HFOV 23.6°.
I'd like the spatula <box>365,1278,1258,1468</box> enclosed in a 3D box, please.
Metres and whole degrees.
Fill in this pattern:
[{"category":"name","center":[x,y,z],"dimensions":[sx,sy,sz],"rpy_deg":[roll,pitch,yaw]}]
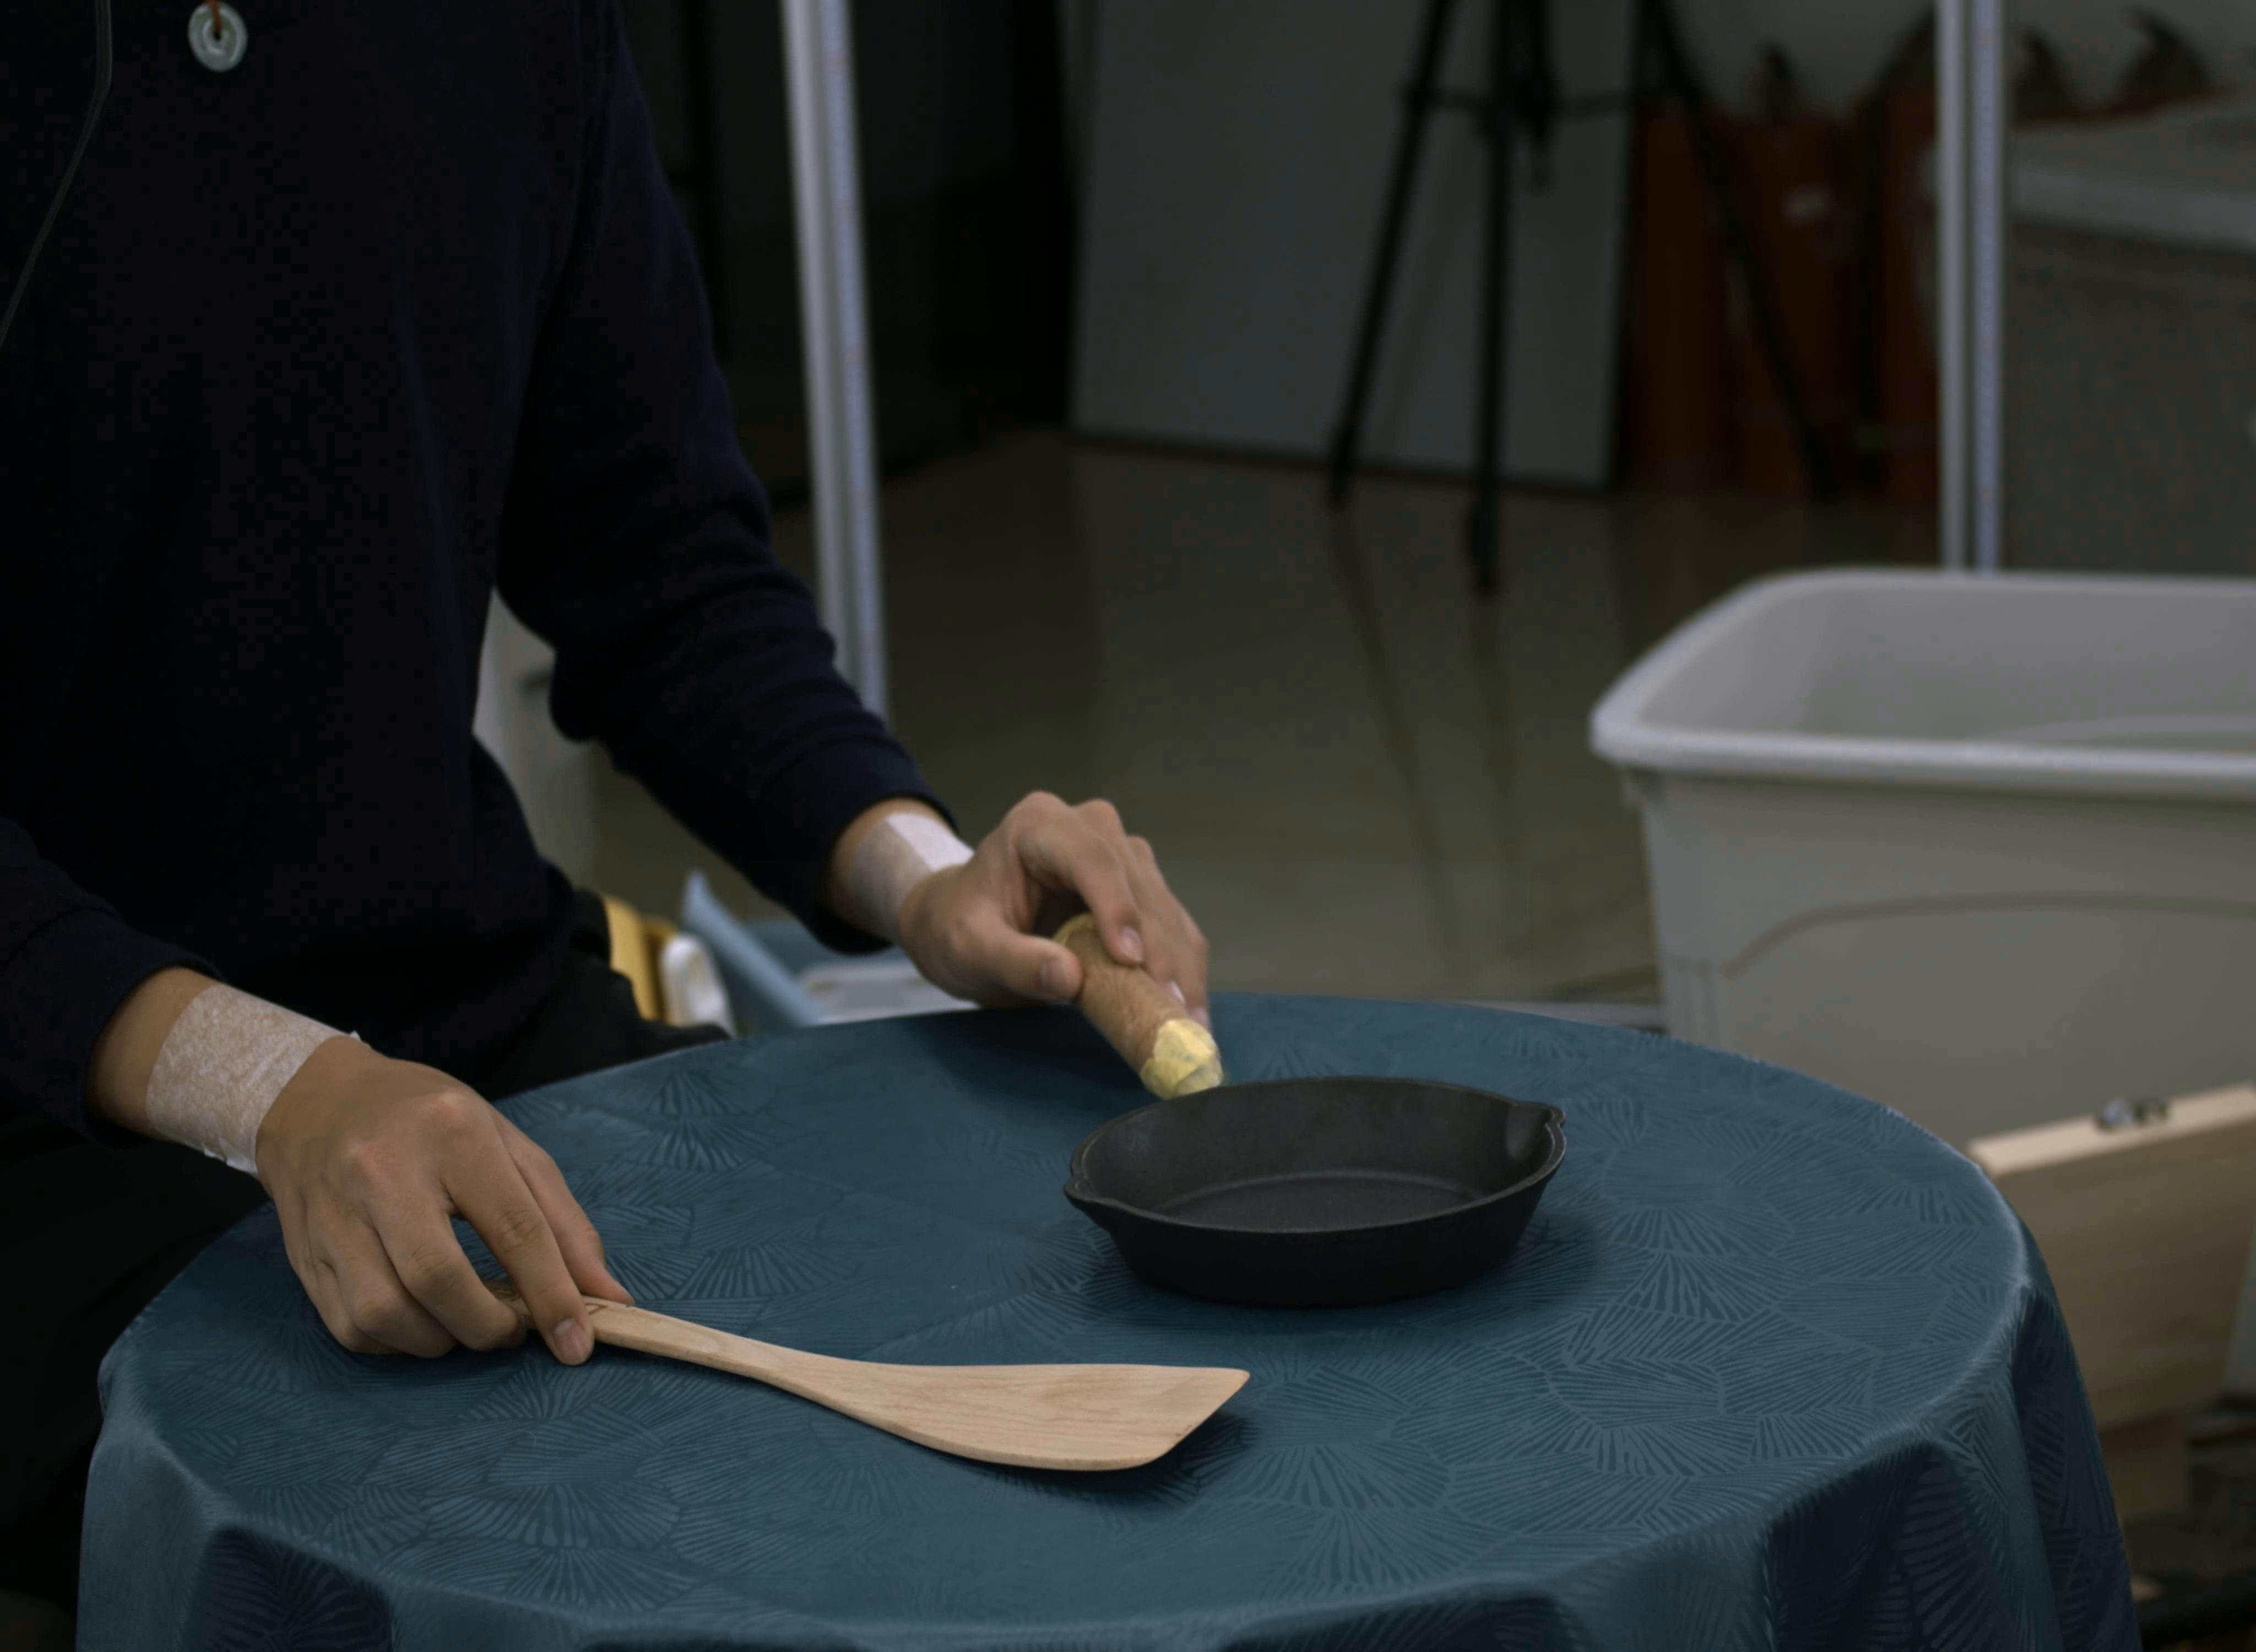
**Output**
[{"category":"spatula","center":[-0.103,0.158,1.616],"dimensions":[0.329,0.017,0.078],"rpy_deg":[6,17,35]}]

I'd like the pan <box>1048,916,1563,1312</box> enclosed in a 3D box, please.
[{"category":"pan","center":[0.034,0.091,1.777],"dimensions":[0.165,0.050,0.327],"rpy_deg":[-8,16,-16]}]
